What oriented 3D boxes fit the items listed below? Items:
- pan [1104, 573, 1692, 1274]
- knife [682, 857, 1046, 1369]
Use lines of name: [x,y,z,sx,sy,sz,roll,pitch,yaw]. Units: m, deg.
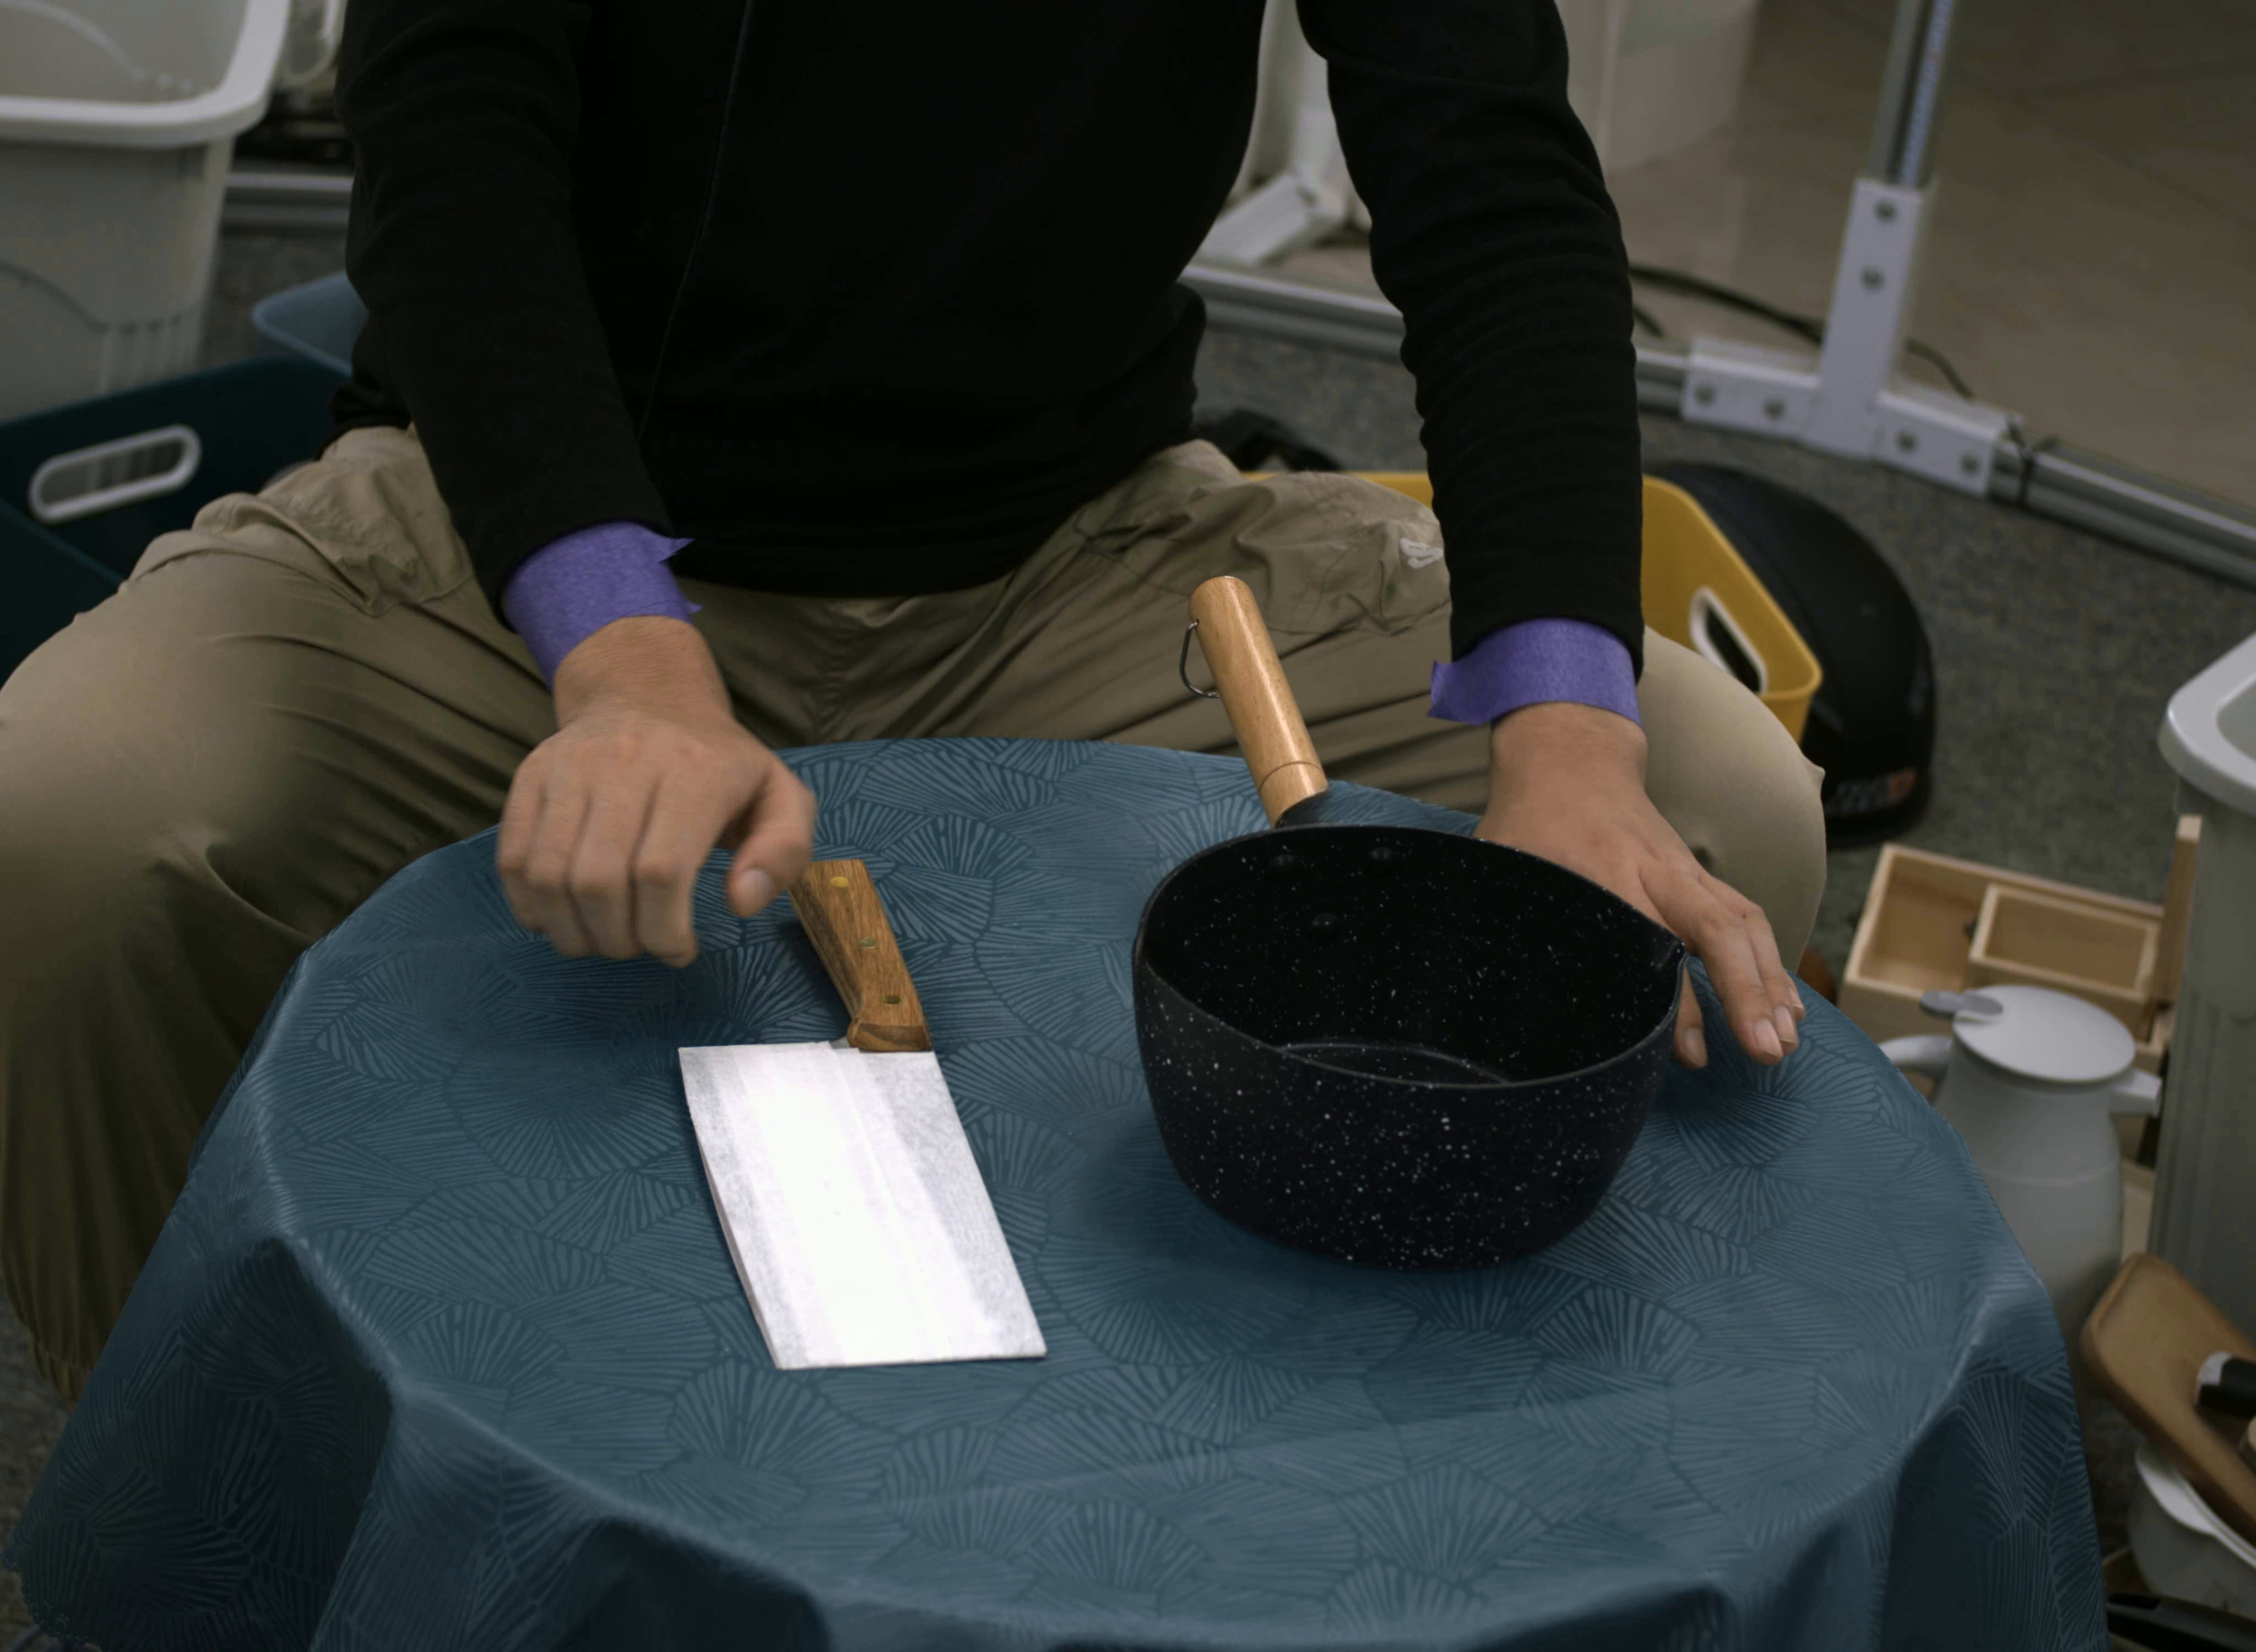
pan: [0.070,0.031,1.886,0.206,0.108,0.346,-2,29,-17]
knife: [-0.102,0.095,1.822,0.092,0.021,0.308,-2,30,-14]
